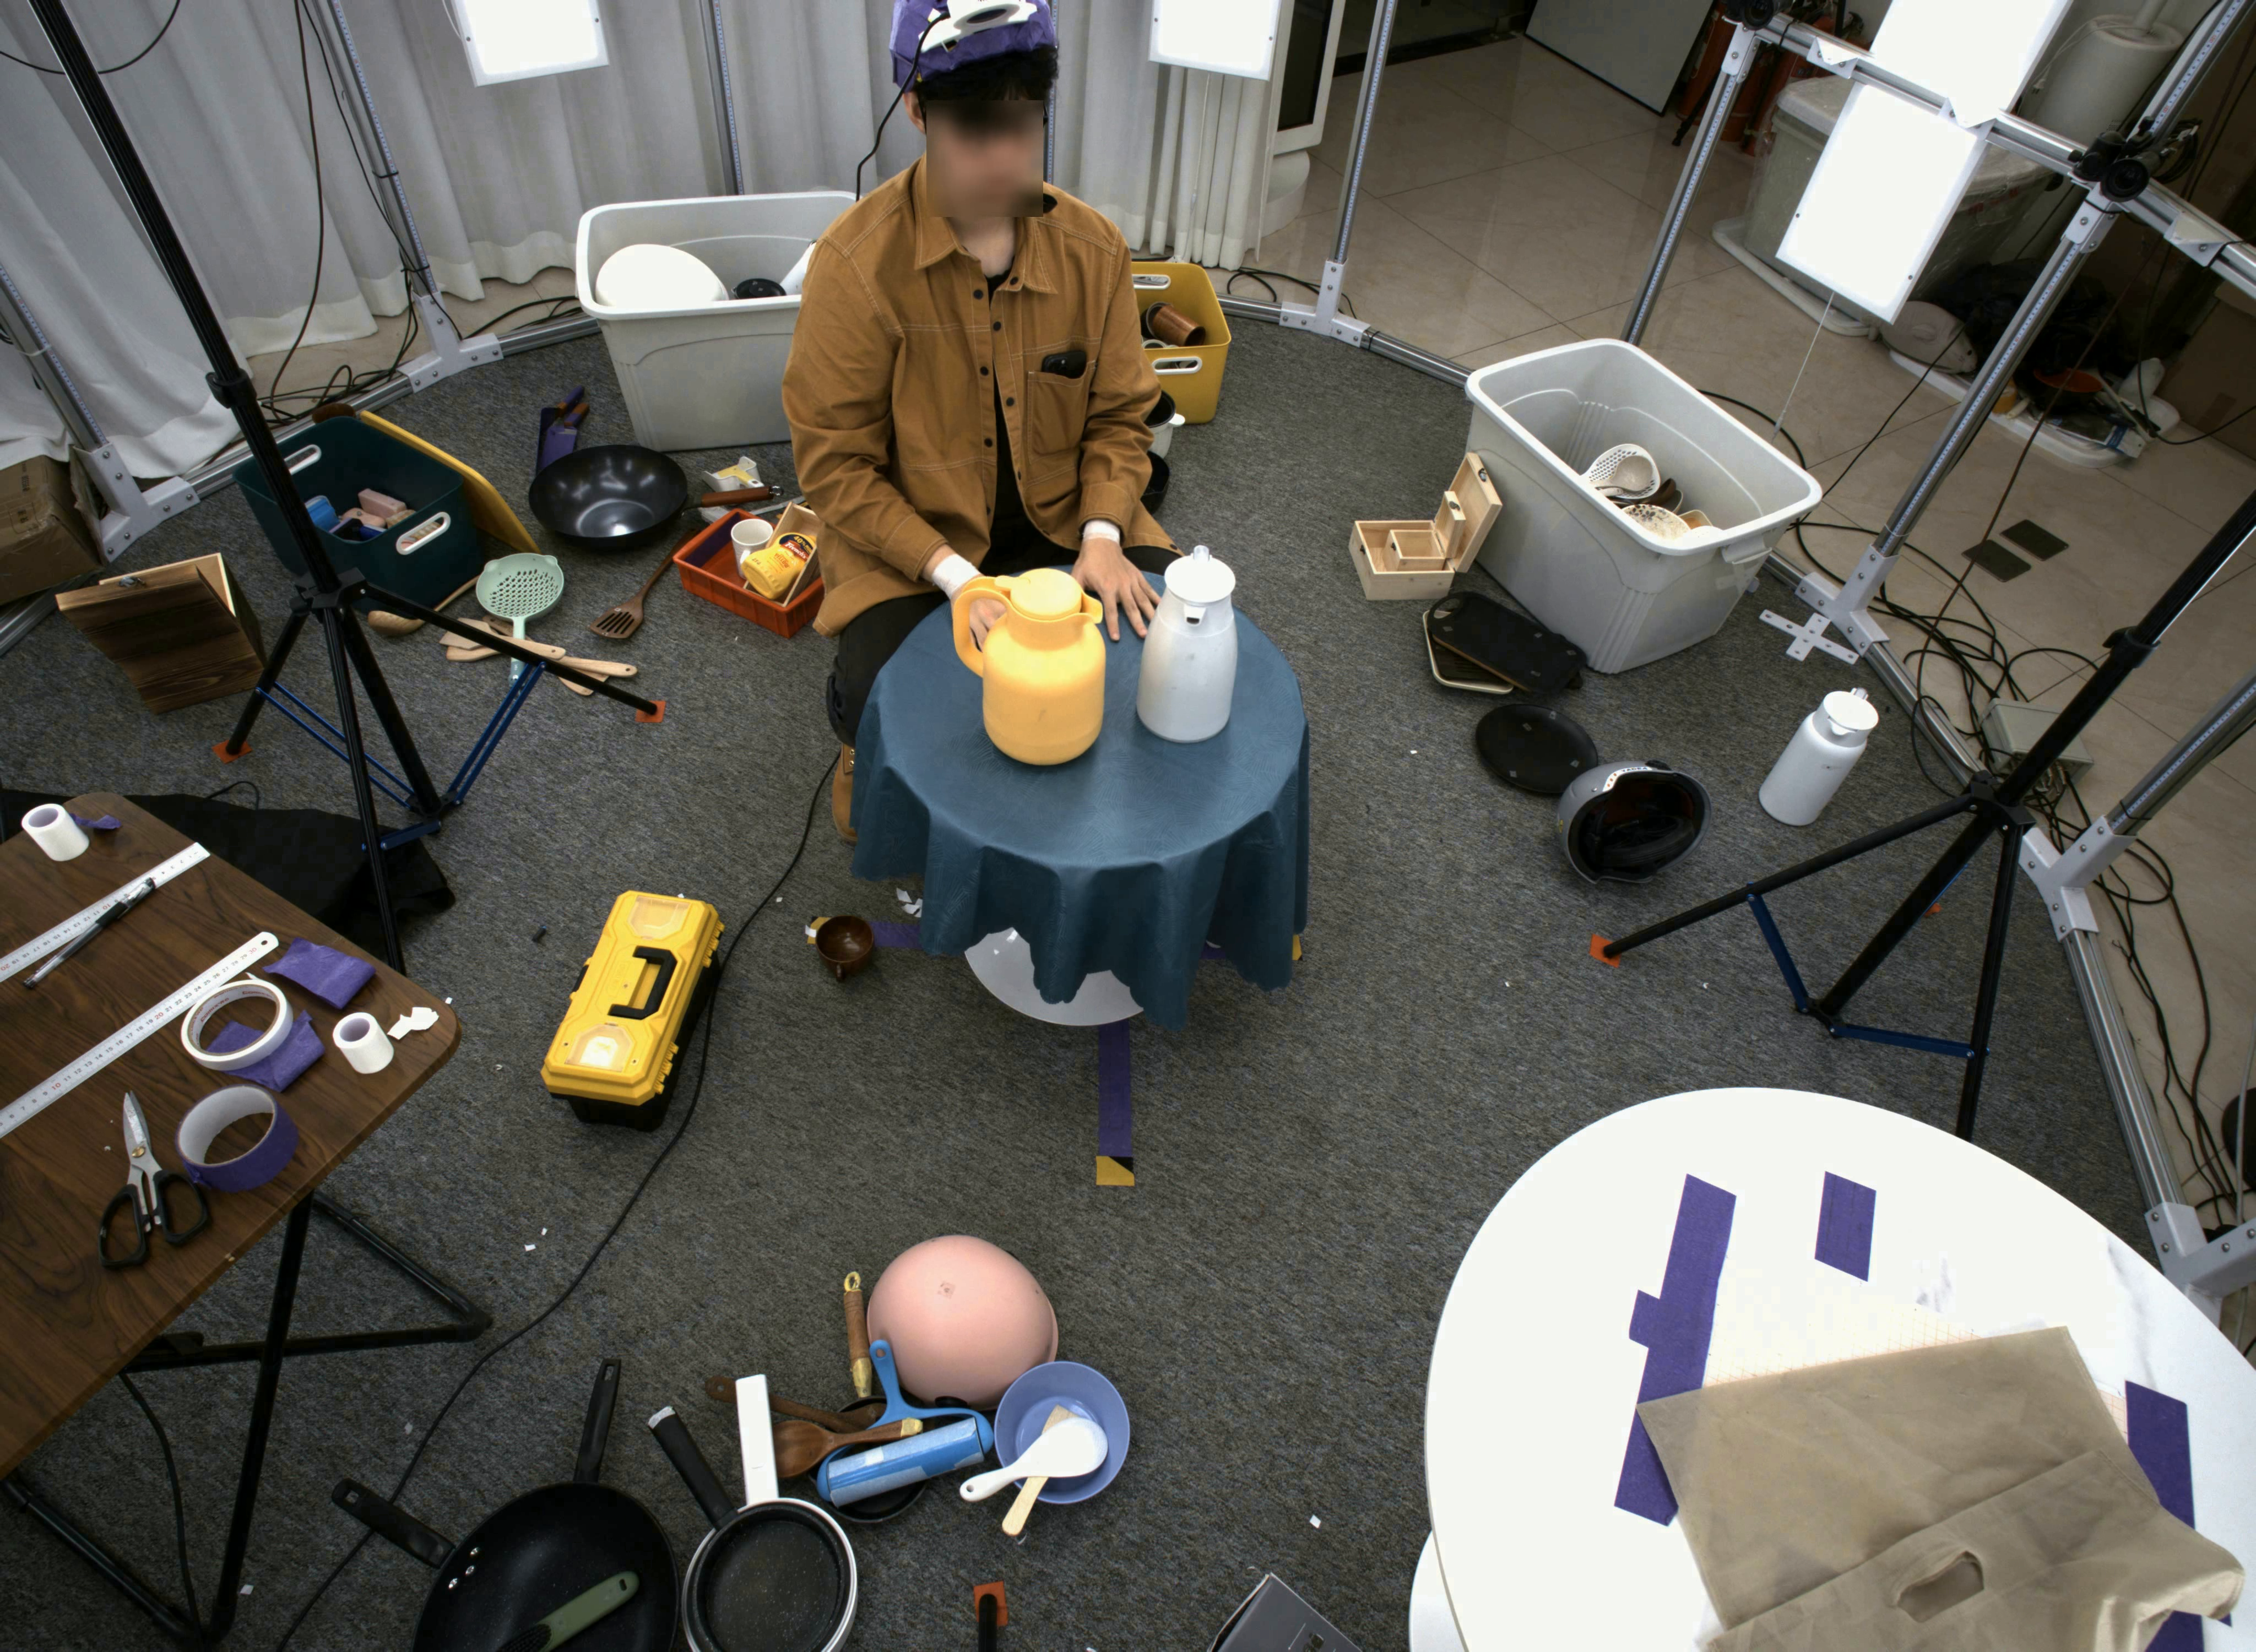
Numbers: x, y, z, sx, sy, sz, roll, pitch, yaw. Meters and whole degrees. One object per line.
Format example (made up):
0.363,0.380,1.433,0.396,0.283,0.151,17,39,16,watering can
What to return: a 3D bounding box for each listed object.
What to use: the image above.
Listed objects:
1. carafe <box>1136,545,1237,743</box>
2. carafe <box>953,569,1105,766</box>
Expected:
0.086,-0.258,1.738,0.132,0.242,0.172,8,49,3,carafe
-0.128,-0.218,1.683,0.203,0.254,0.167,17,48,9,carafe
